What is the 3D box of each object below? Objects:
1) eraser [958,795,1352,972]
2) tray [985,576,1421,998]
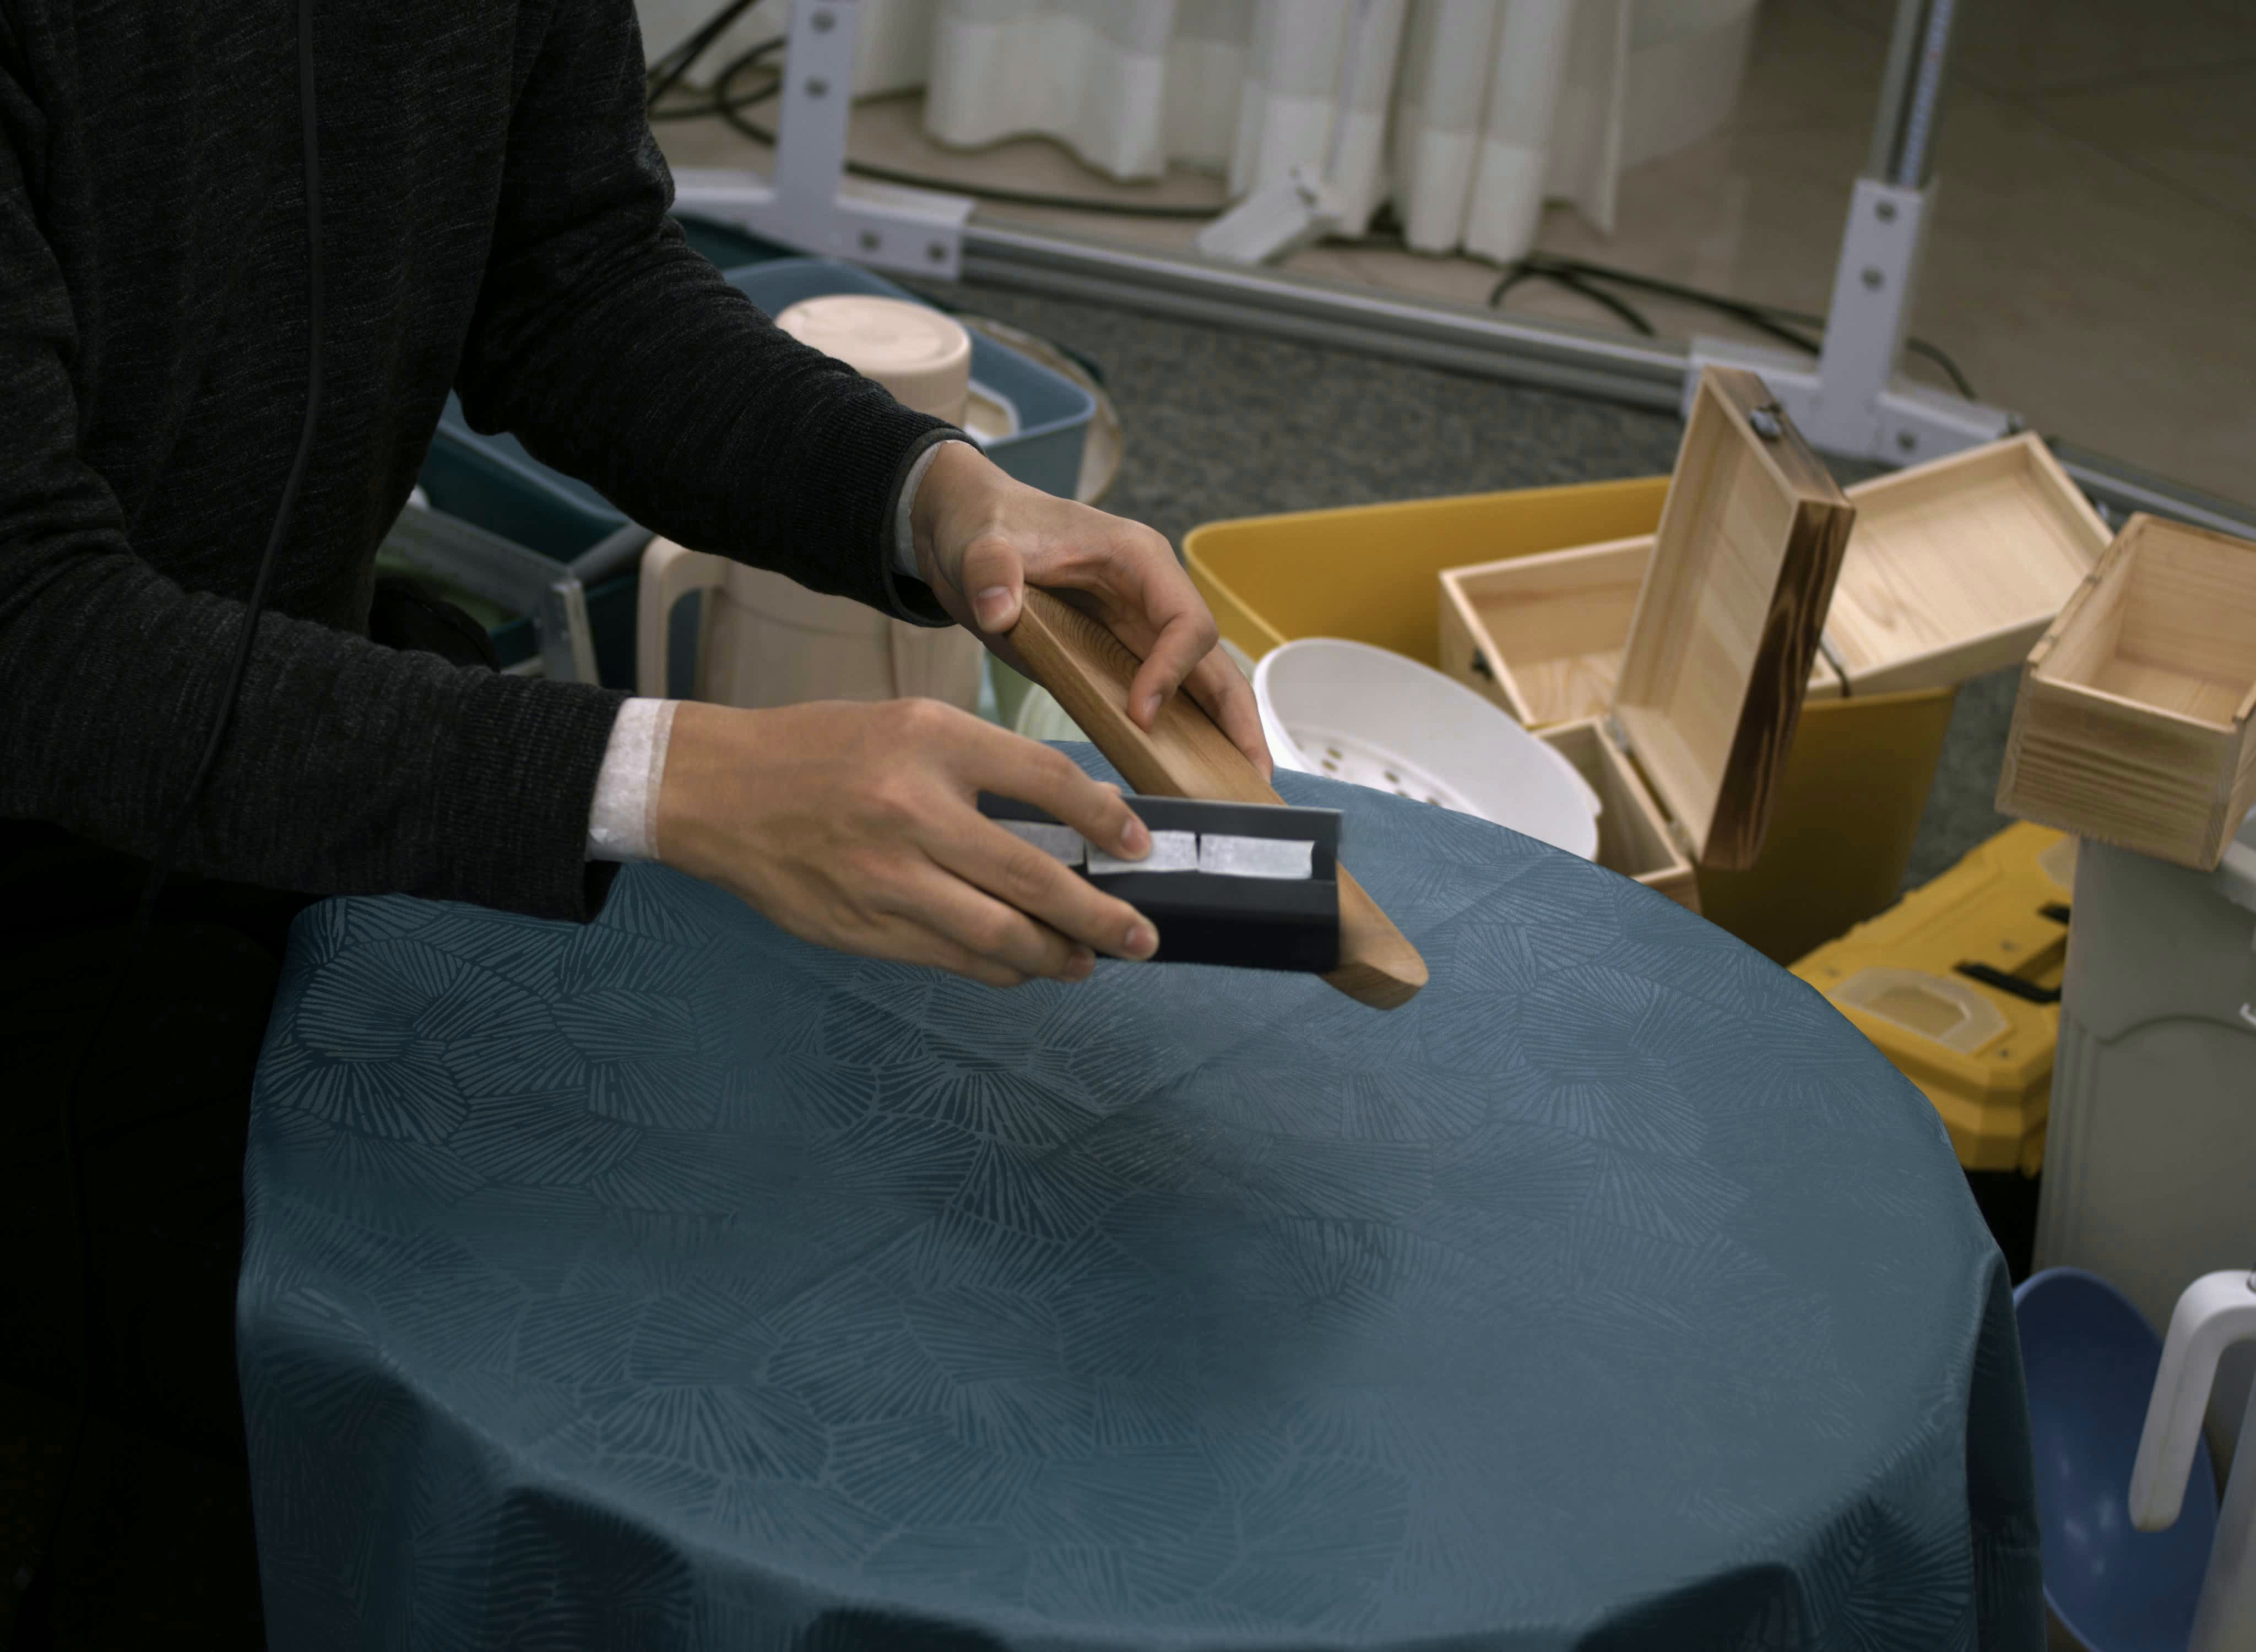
[{"bbox_3d":[0.007,0.018,1.709,0.125,0.030,0.054,2,46,-4],"label":"eraser"},{"bbox_3d":[0.023,-0.014,1.826,0.100,0.020,0.233,31,11,-46],"label":"tray"}]
